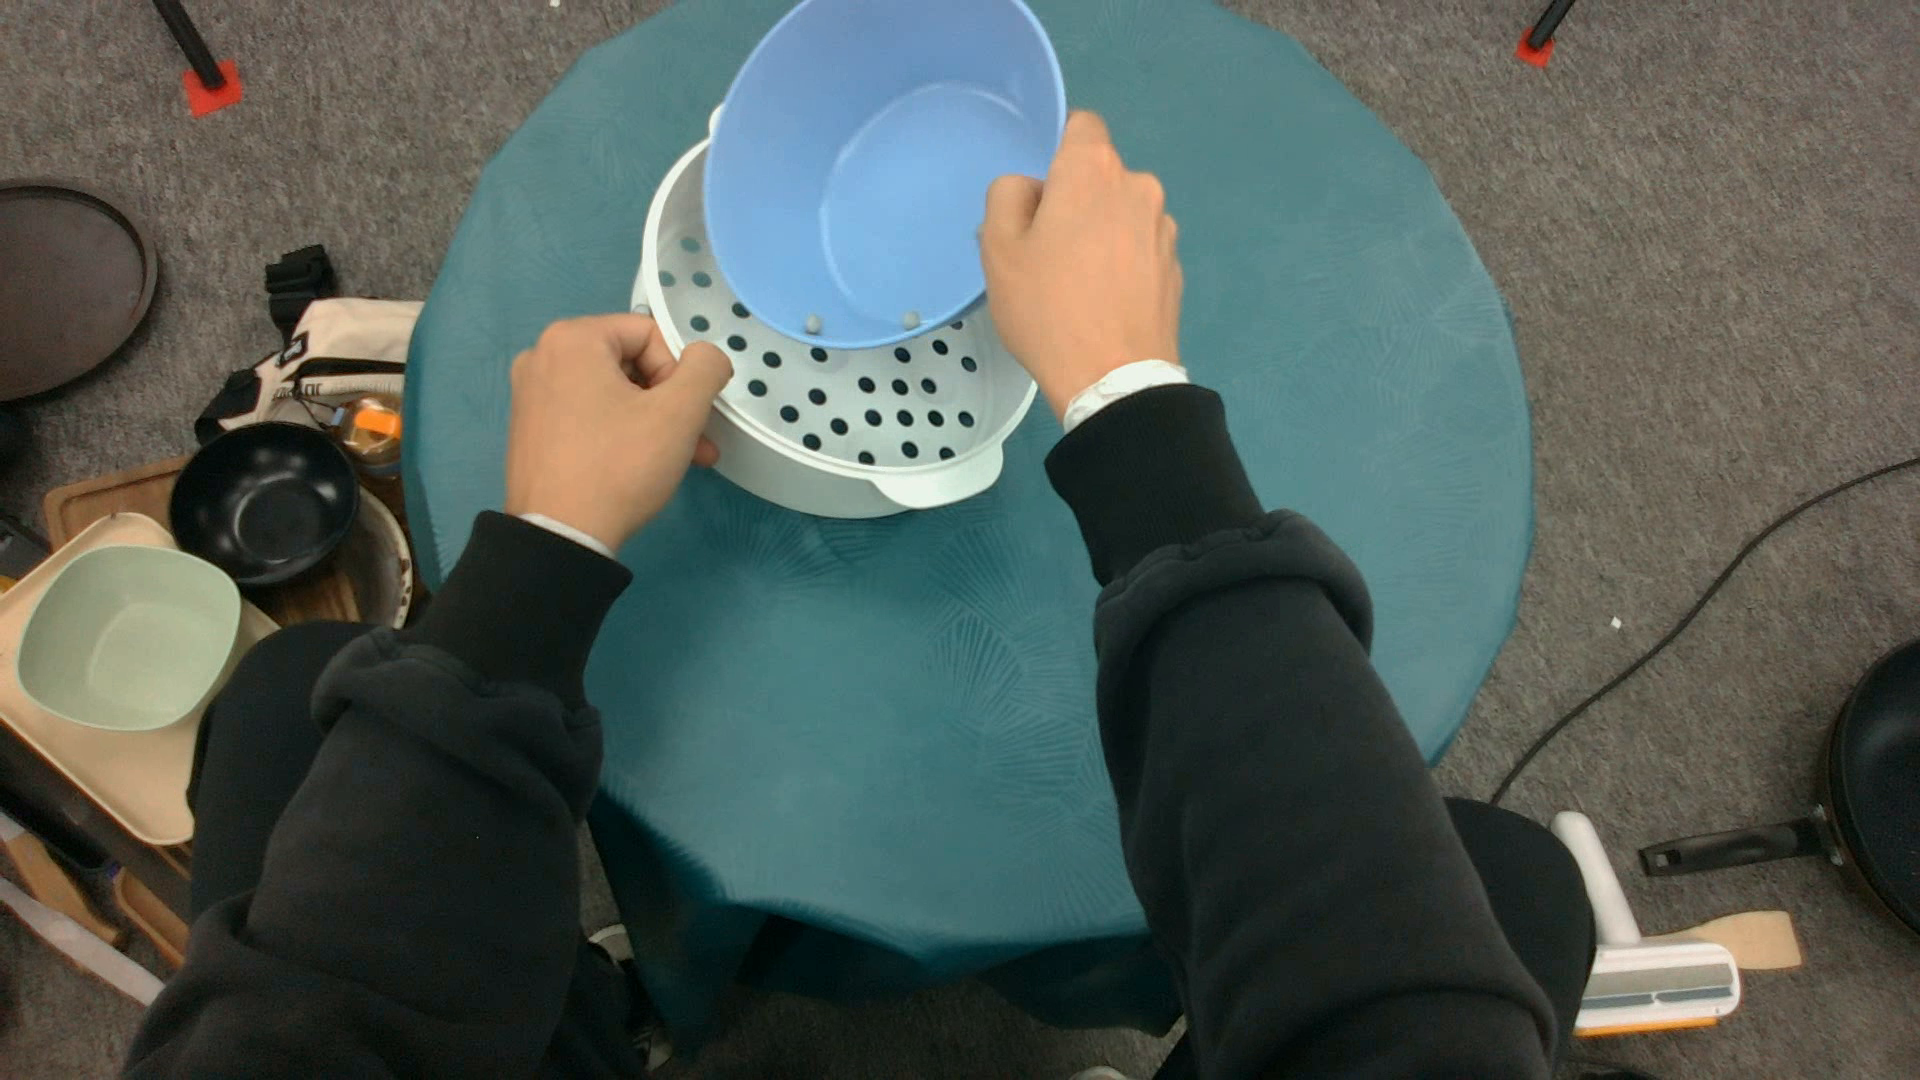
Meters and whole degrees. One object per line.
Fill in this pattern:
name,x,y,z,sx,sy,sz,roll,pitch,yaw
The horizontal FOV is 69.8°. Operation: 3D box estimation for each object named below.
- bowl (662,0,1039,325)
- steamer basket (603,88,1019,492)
bowl,-0.042,-0.172,0.627,0.176,0.070,0.176,-3,78,17
steamer basket,-0.074,-0.120,0.680,0.202,0.069,0.231,-19,73,-32
